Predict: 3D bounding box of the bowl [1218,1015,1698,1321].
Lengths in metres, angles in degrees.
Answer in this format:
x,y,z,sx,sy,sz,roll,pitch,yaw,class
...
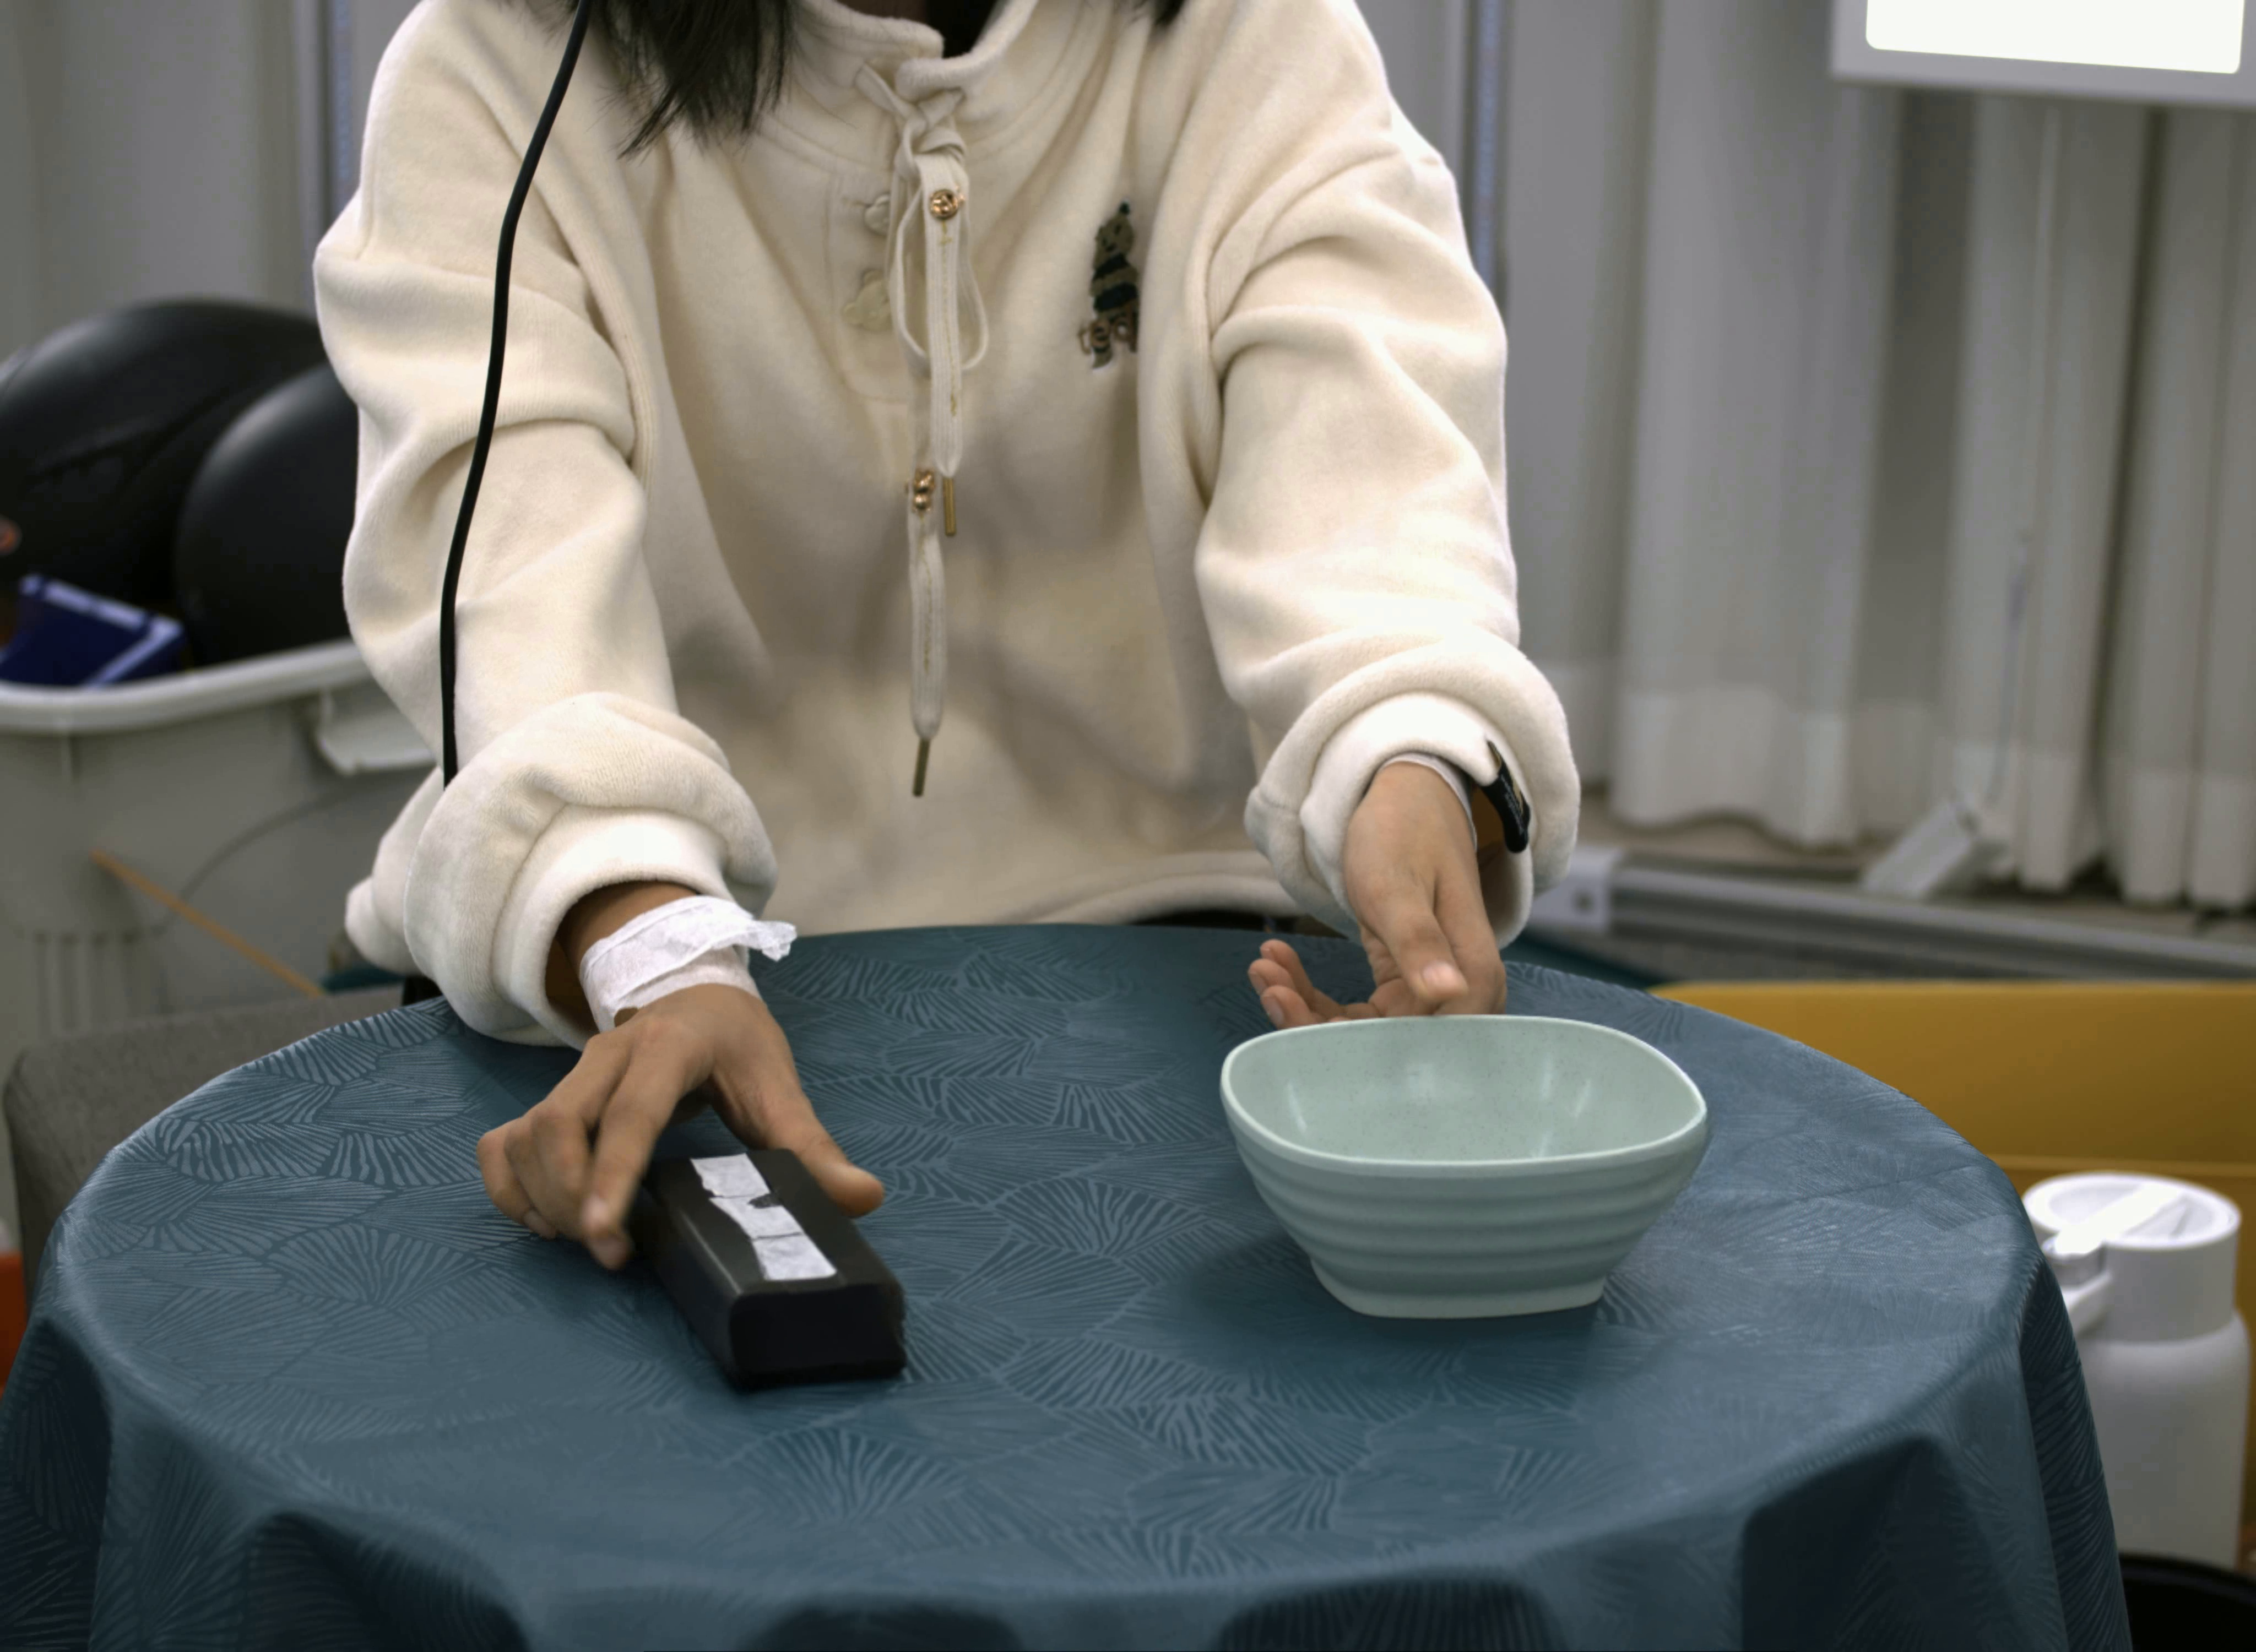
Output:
x,y,z,sx,sy,sz,roll,pitch,yaw,class
0.095,0.104,1.549,0.151,0.059,0.150,3,16,0,bowl

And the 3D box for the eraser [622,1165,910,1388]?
x,y,z,sx,sy,sz,roll,pitch,yaw,class
-0.105,0.128,1.511,0.053,0.030,0.124,-3,14,-19,eraser
